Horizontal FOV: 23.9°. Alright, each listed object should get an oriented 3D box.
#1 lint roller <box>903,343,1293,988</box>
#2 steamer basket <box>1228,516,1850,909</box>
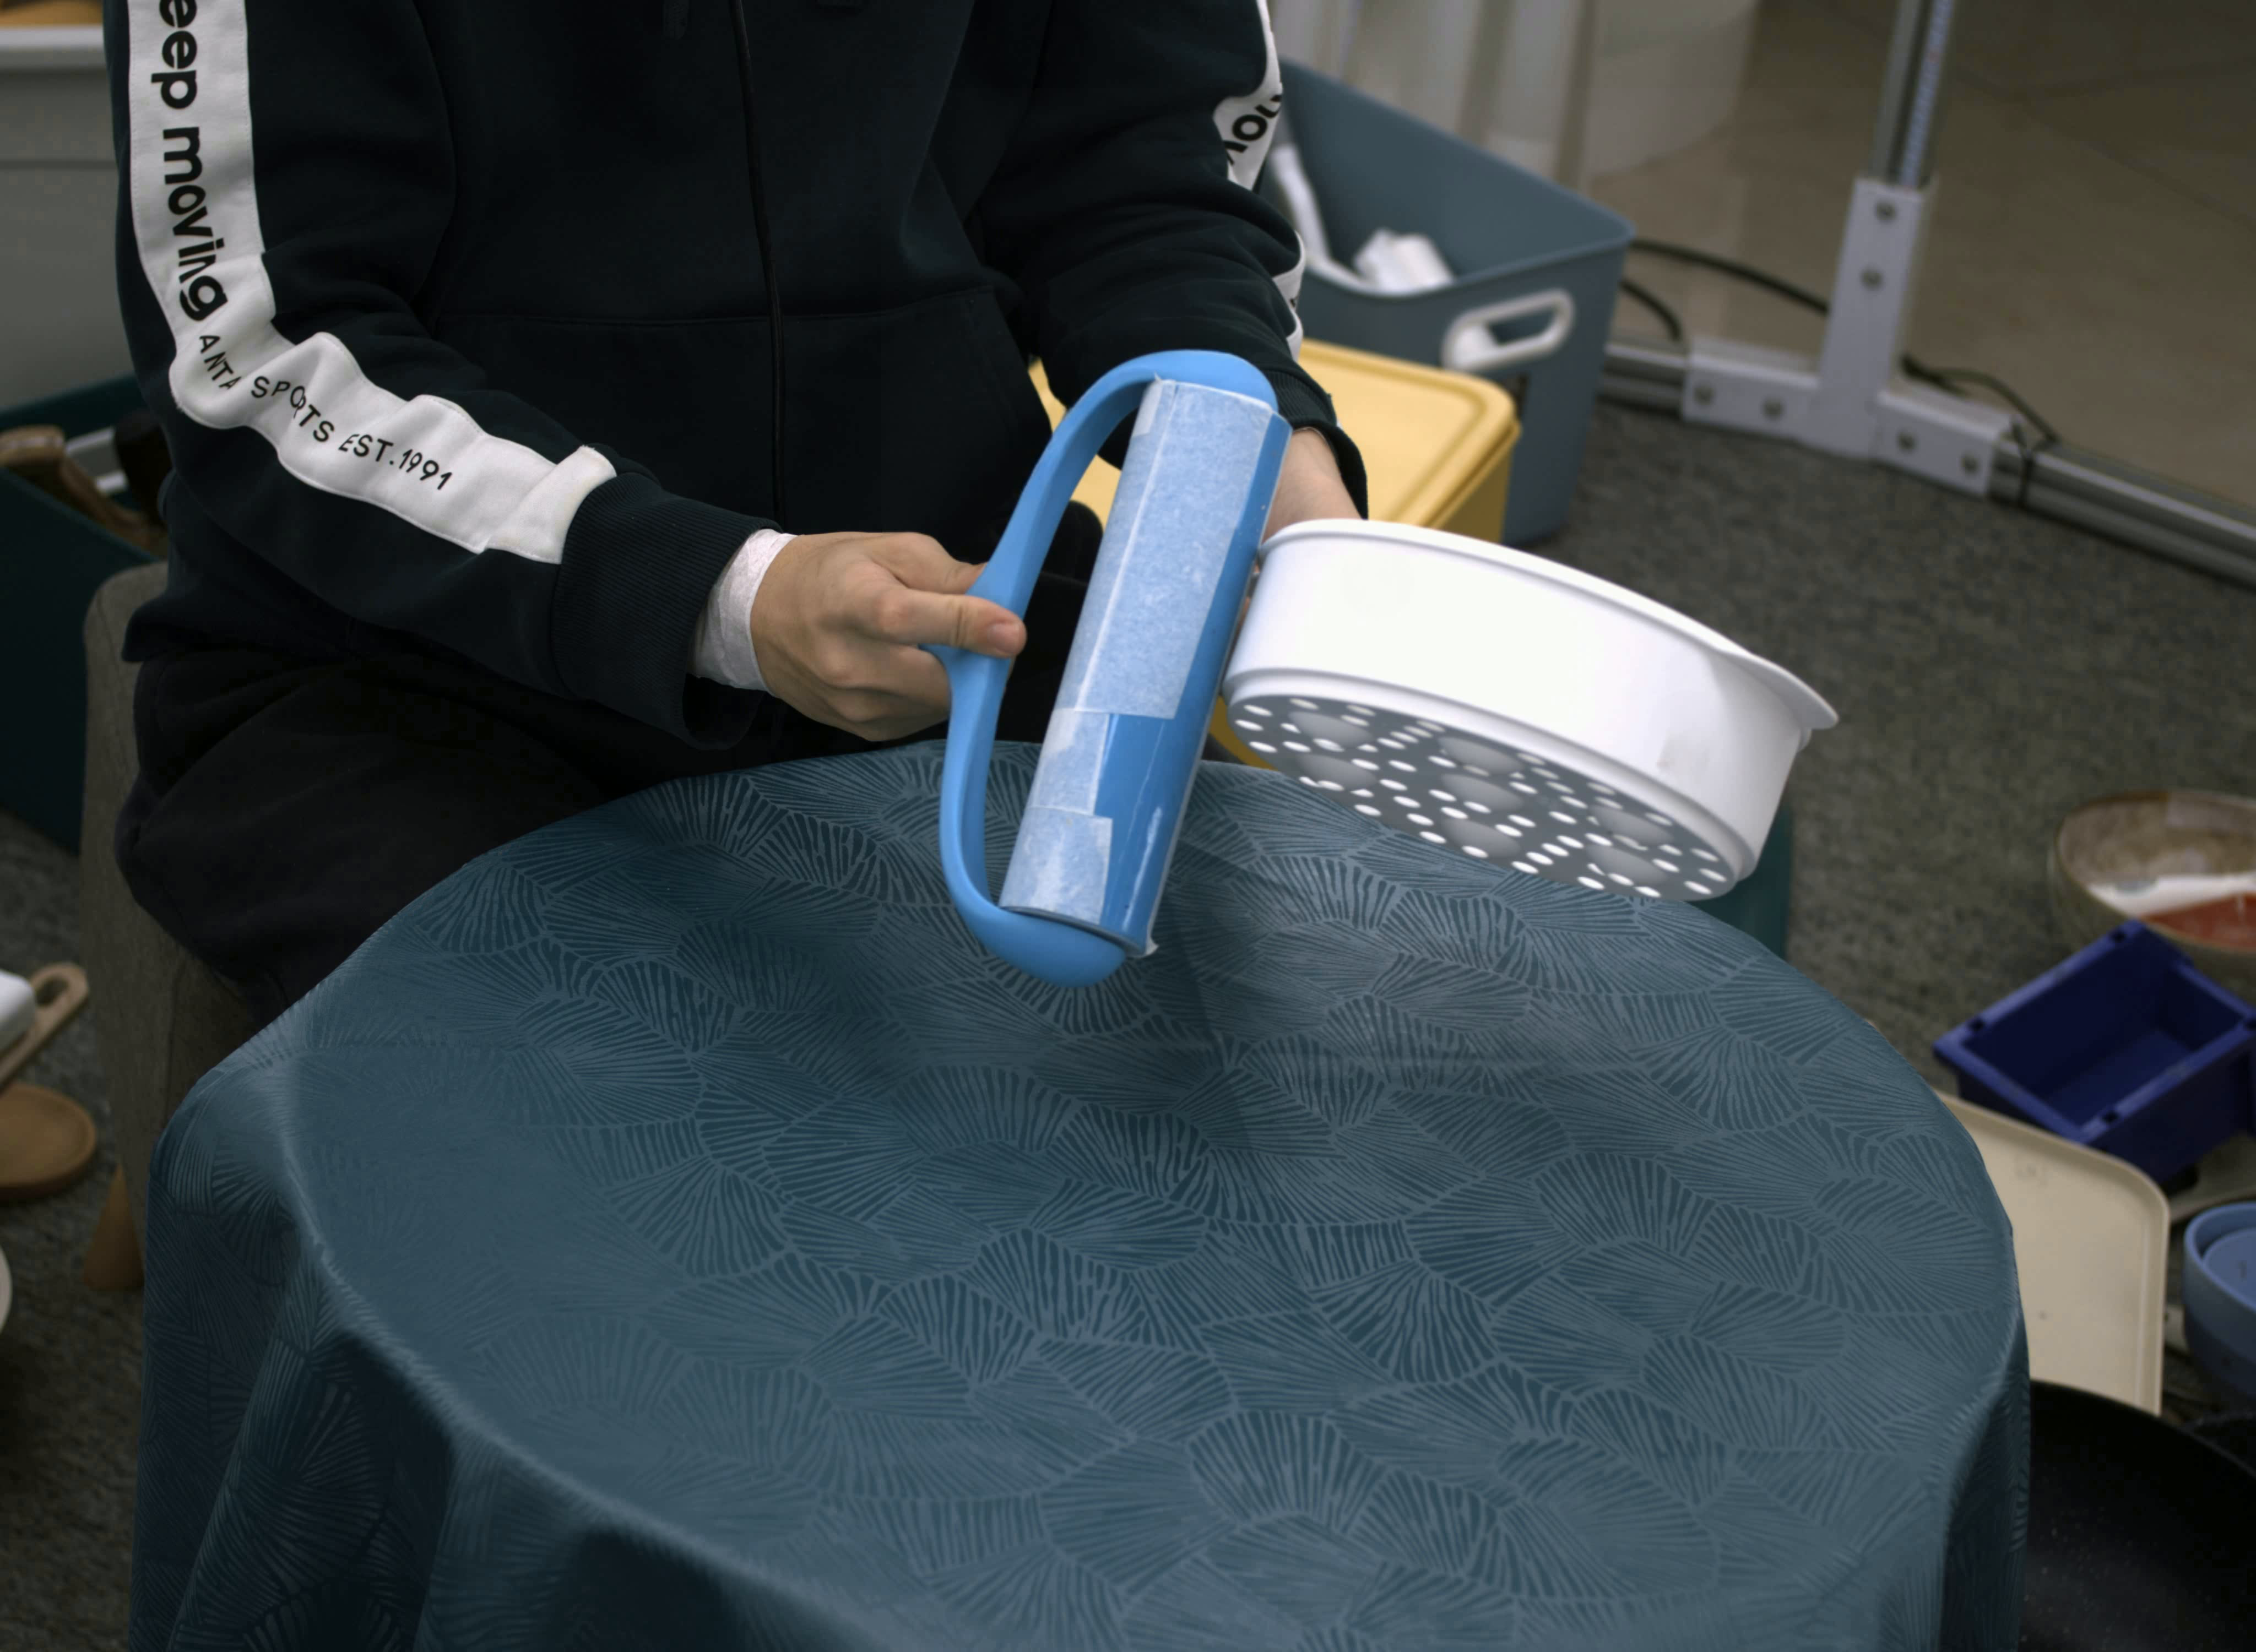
[{"bbox_3d":[-0.033,-0.055,1.867,0.181,0.230,0.067,-2,-18,46],"label":"lint roller"},{"bbox_3d":[0.132,-0.034,1.824,0.232,0.069,0.200,9,-17,37],"label":"steamer basket"}]
